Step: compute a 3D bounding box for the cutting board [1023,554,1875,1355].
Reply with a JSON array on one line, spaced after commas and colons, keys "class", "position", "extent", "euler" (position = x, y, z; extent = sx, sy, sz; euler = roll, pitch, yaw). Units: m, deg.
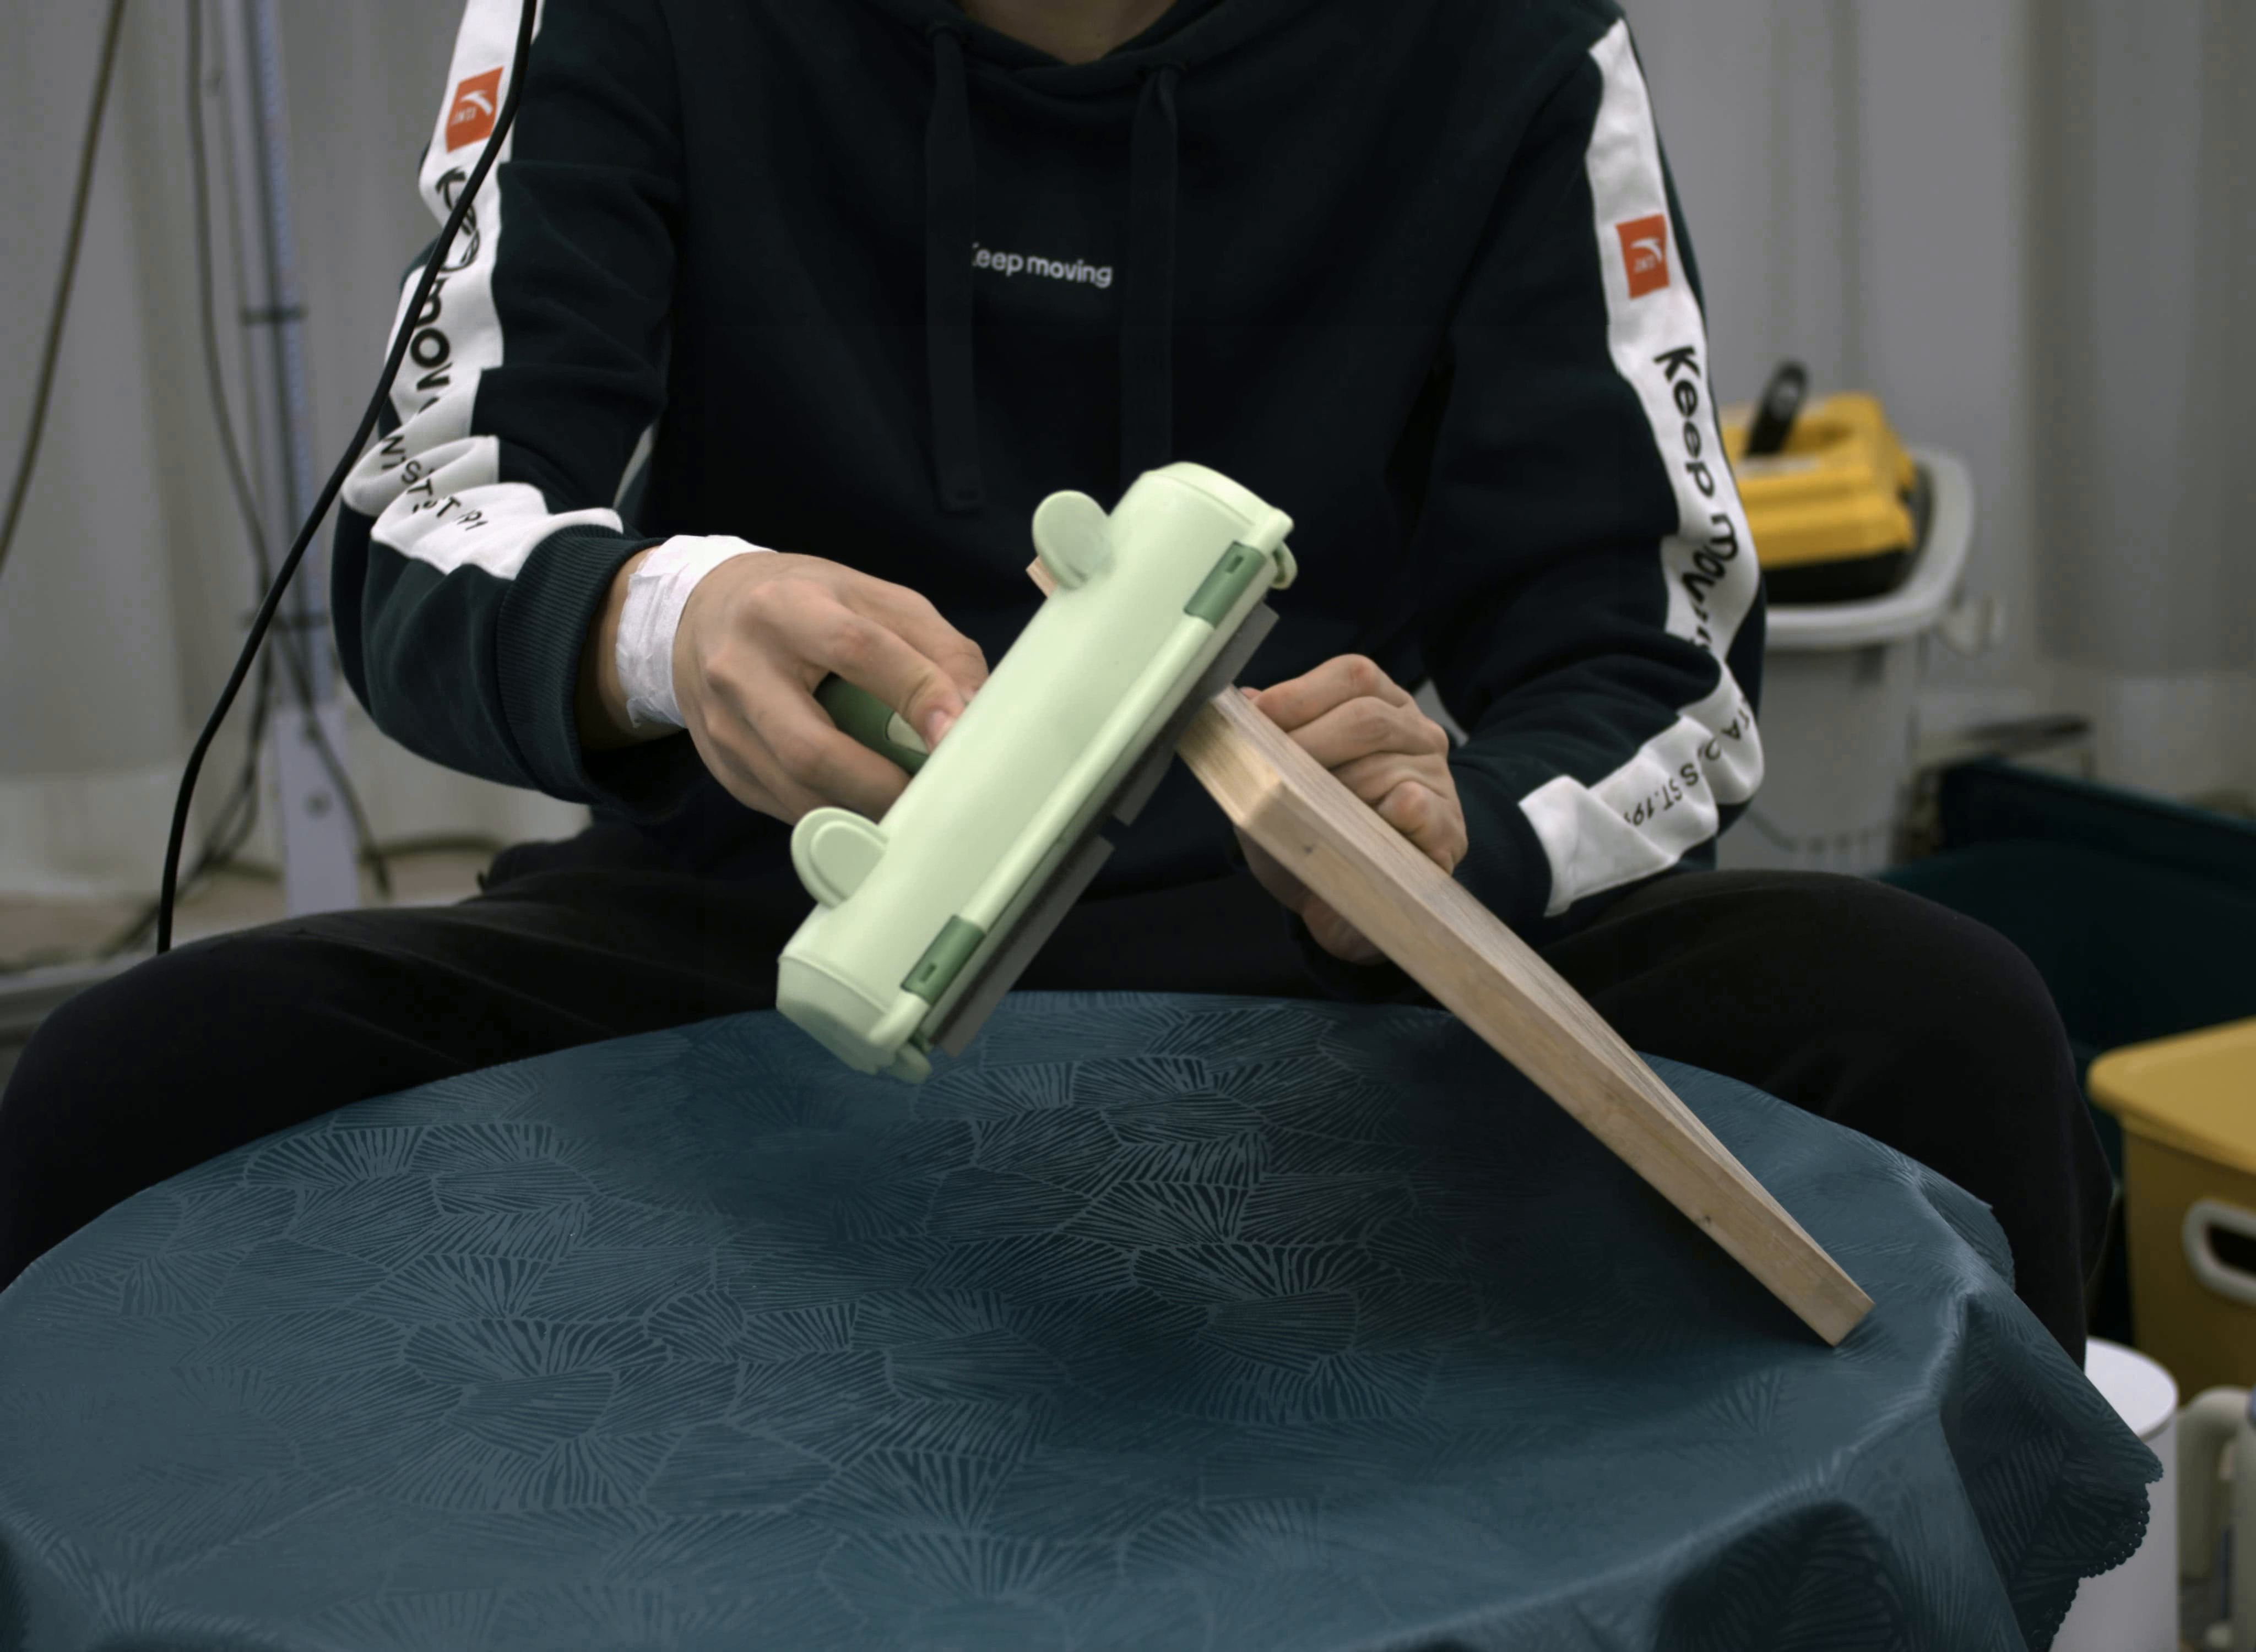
[{"class": "cutting board", "position": [0.087, 0.027, 1.678], "extent": [0.023, 0.249, 0.351], "euler": [-47, 18, 3]}]

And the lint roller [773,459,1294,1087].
[{"class": "lint roller", "position": [-0.063, -0.033, 1.587], "extent": [0.185, 0.081, 0.199], "euler": [20, 68, 49]}]
